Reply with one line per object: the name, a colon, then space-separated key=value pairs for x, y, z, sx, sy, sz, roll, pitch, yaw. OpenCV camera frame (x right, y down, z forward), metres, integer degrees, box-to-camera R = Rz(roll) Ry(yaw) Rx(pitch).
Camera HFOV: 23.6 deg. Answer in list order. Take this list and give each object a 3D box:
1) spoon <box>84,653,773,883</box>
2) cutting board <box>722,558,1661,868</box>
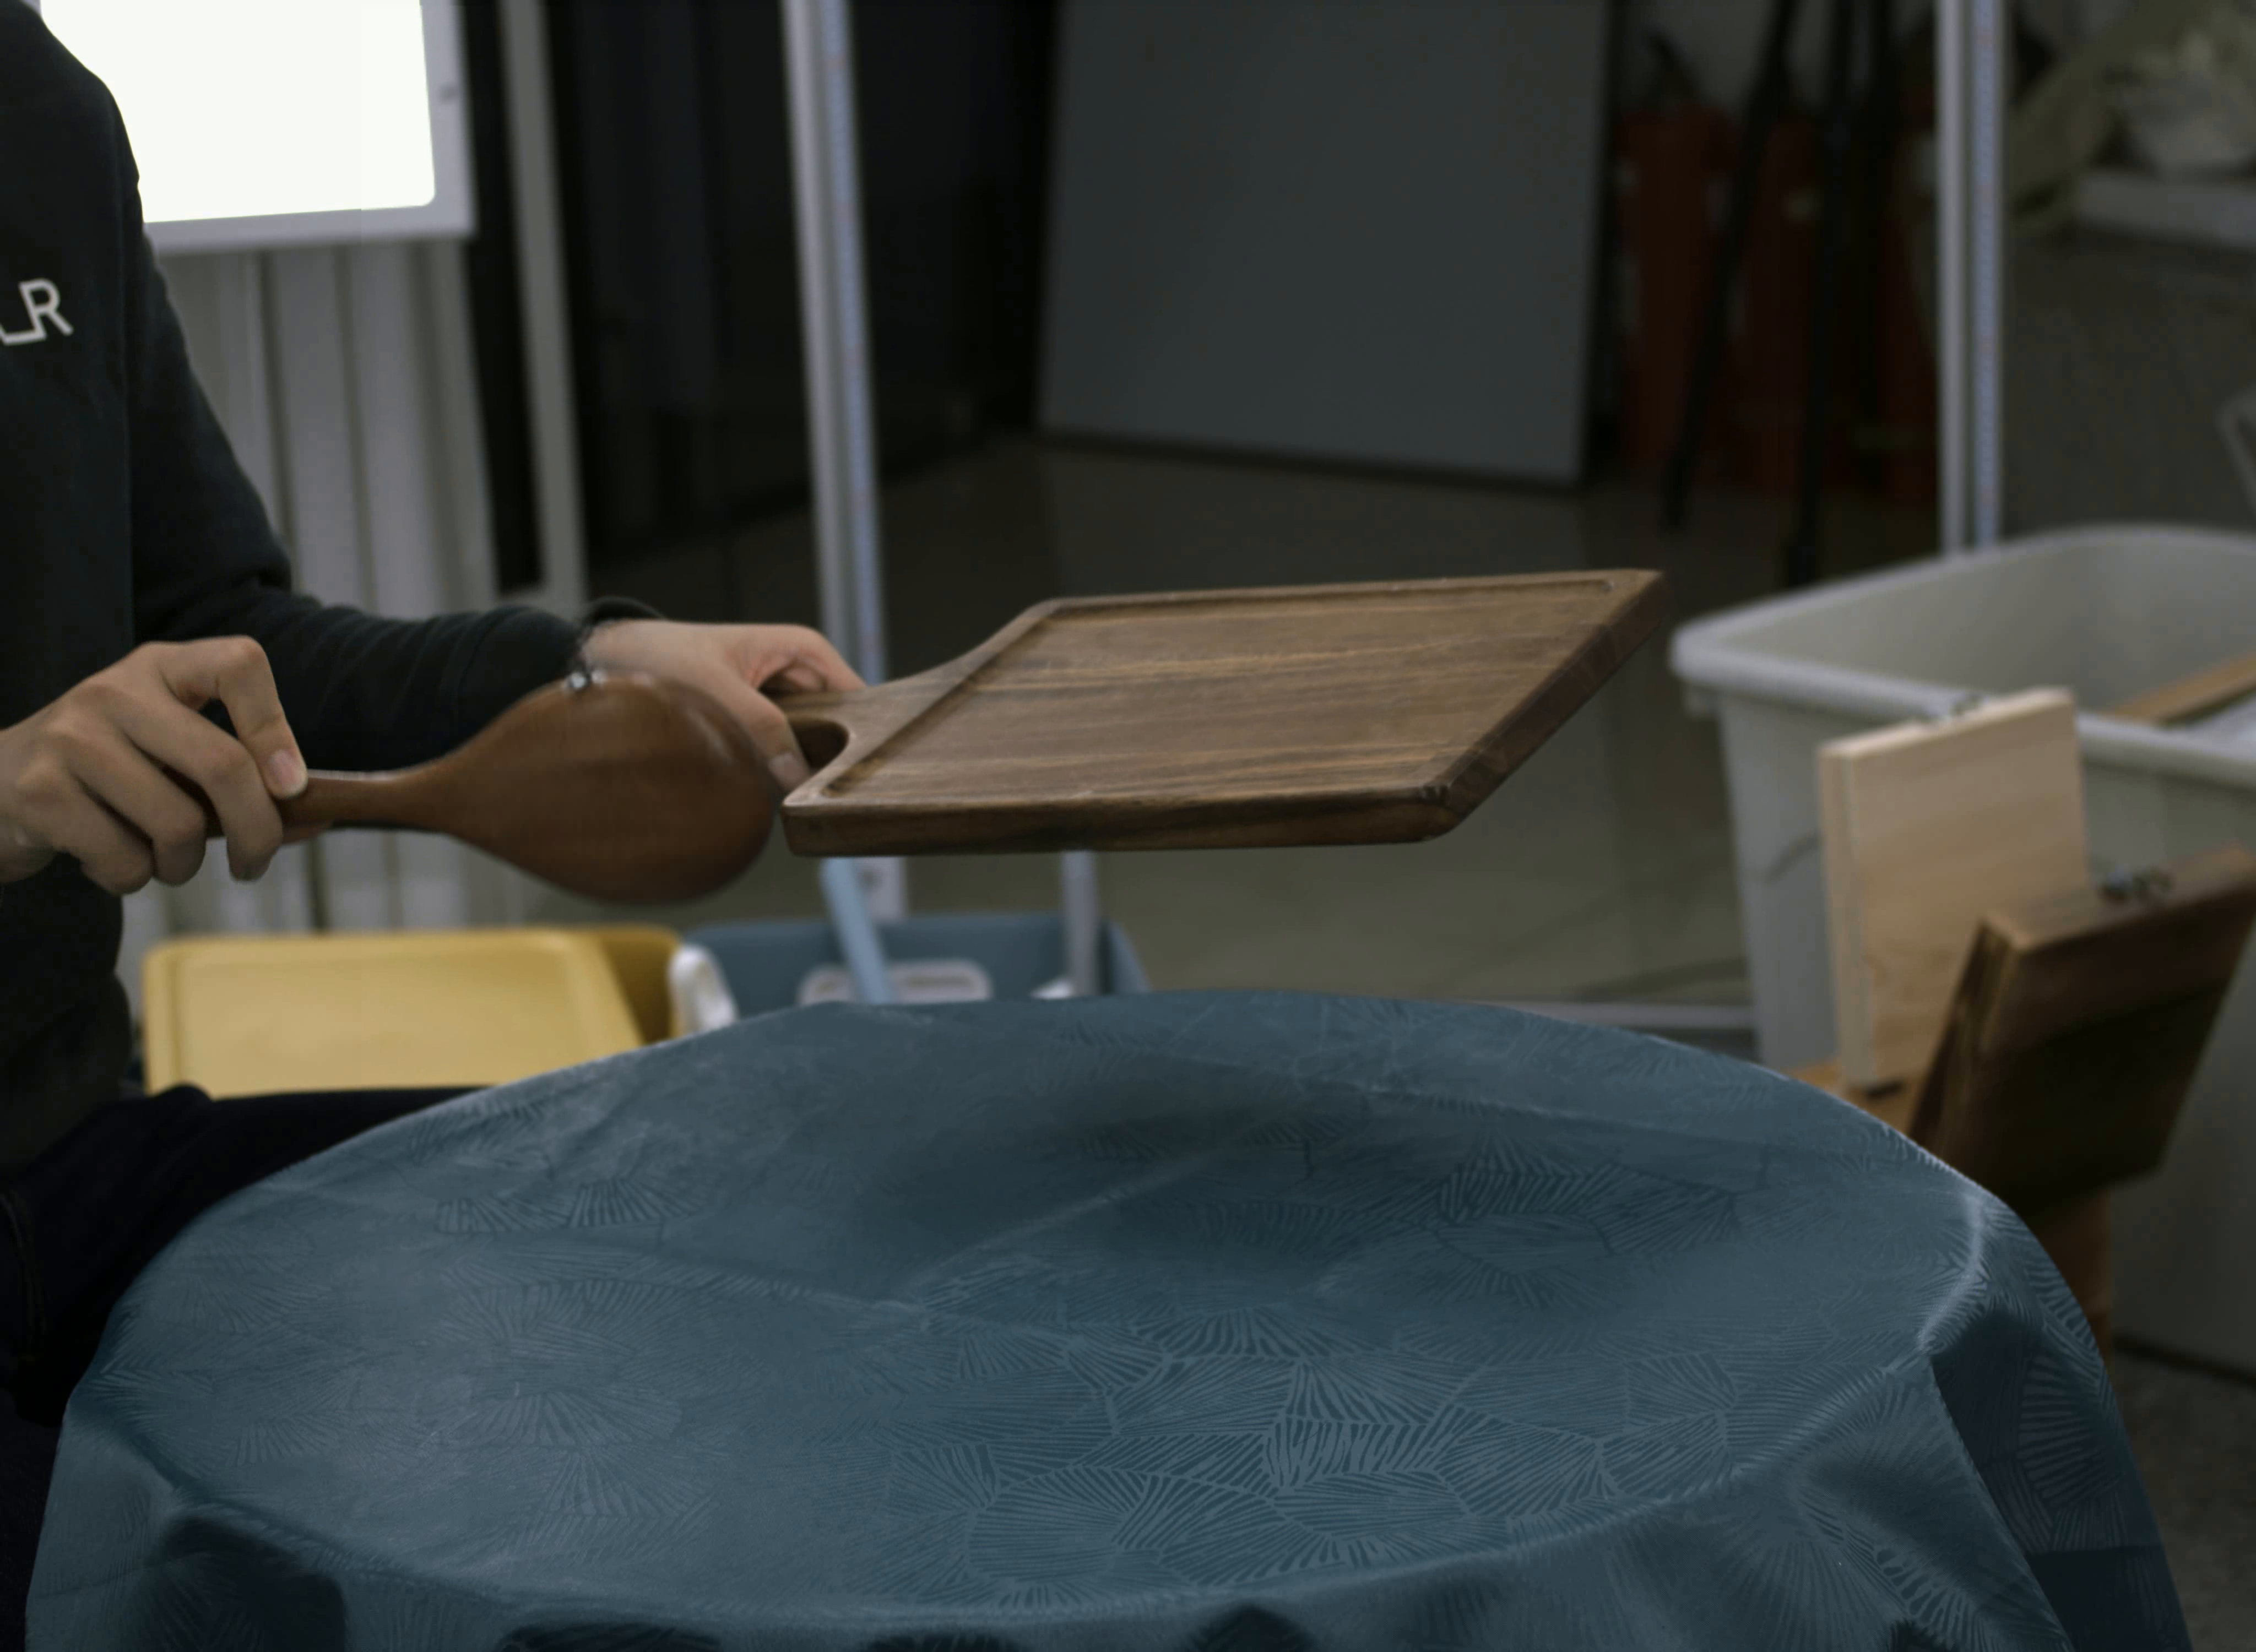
spoon: x=-0.204 y=-0.012 z=1.568 sx=0.215 sy=0.076 sz=0.017 roll=-2 pitch=29 yaw=19
cutting board: x=-0.009 y=-0.037 z=1.832 sx=0.353 sy=0.023 sz=0.199 roll=-3 pitch=23 yaw=31
